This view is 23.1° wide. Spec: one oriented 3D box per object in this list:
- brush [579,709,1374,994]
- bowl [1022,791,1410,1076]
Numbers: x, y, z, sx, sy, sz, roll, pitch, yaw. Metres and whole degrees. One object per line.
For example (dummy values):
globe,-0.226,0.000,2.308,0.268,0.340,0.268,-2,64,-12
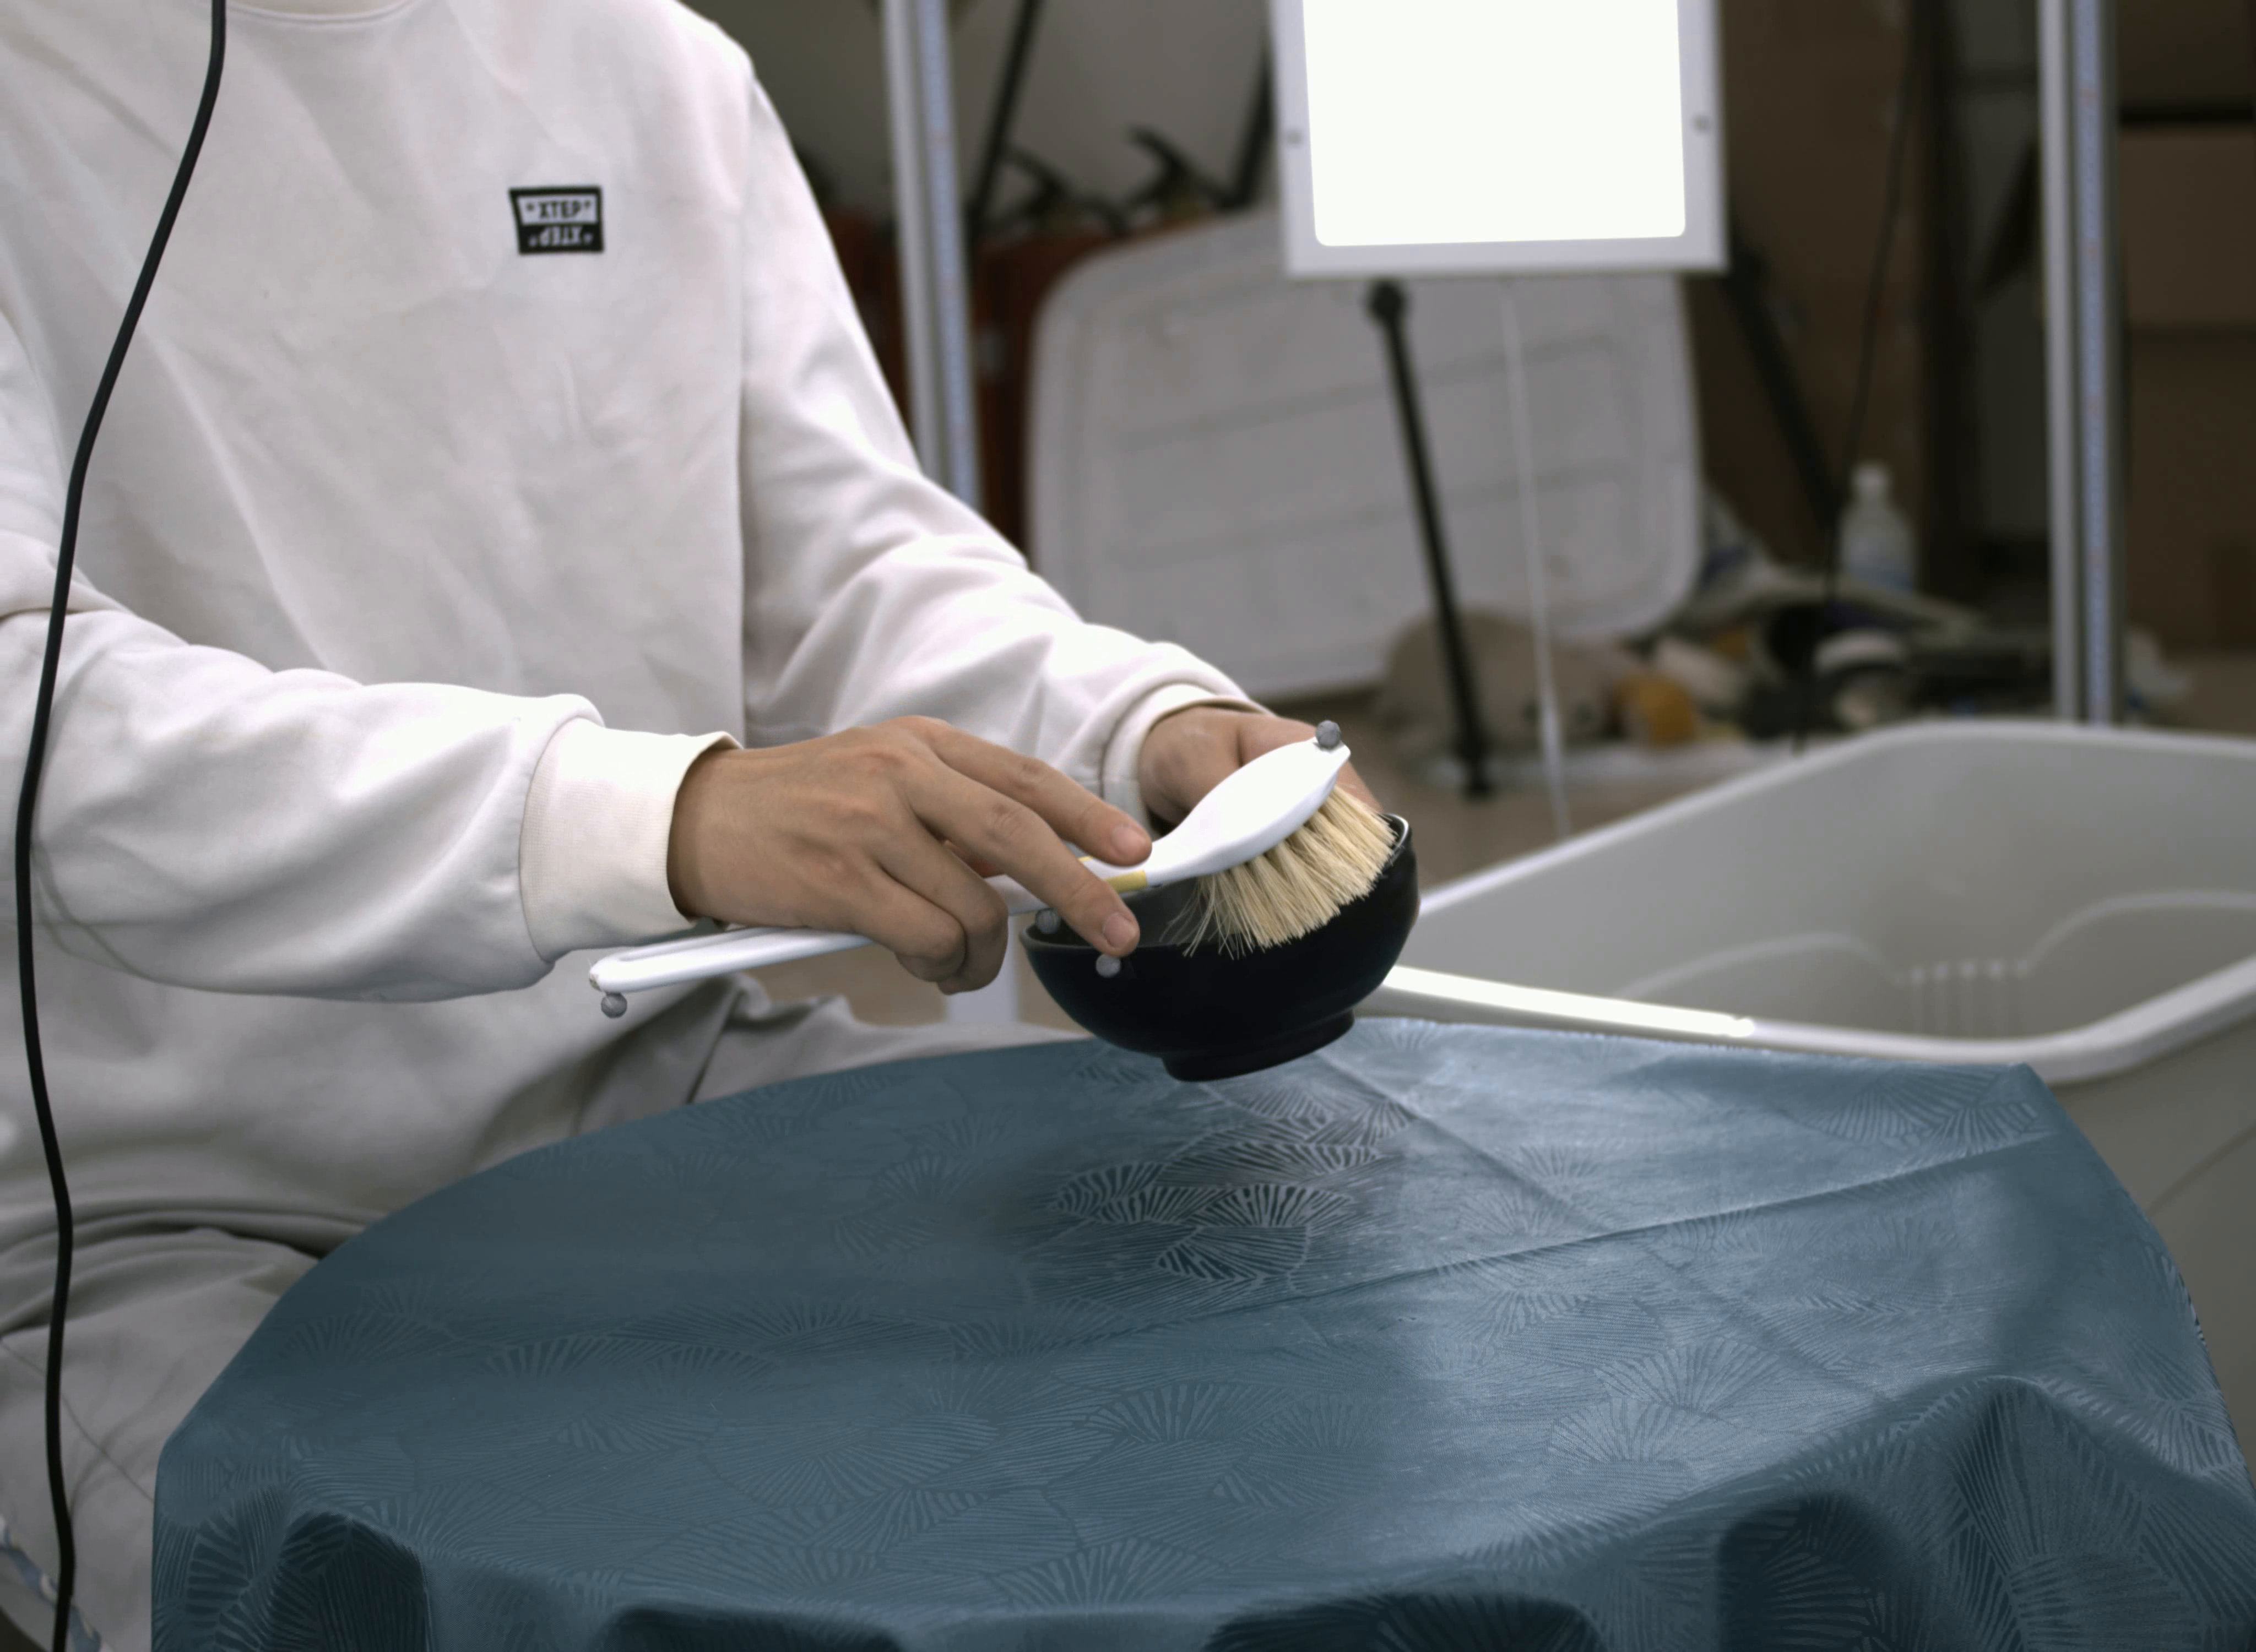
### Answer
brush,-0.046,0.029,1.794,0.264,0.056,0.069,-19,18,-8
bowl,0.037,0.044,1.878,0.136,0.067,0.172,-23,7,-12
